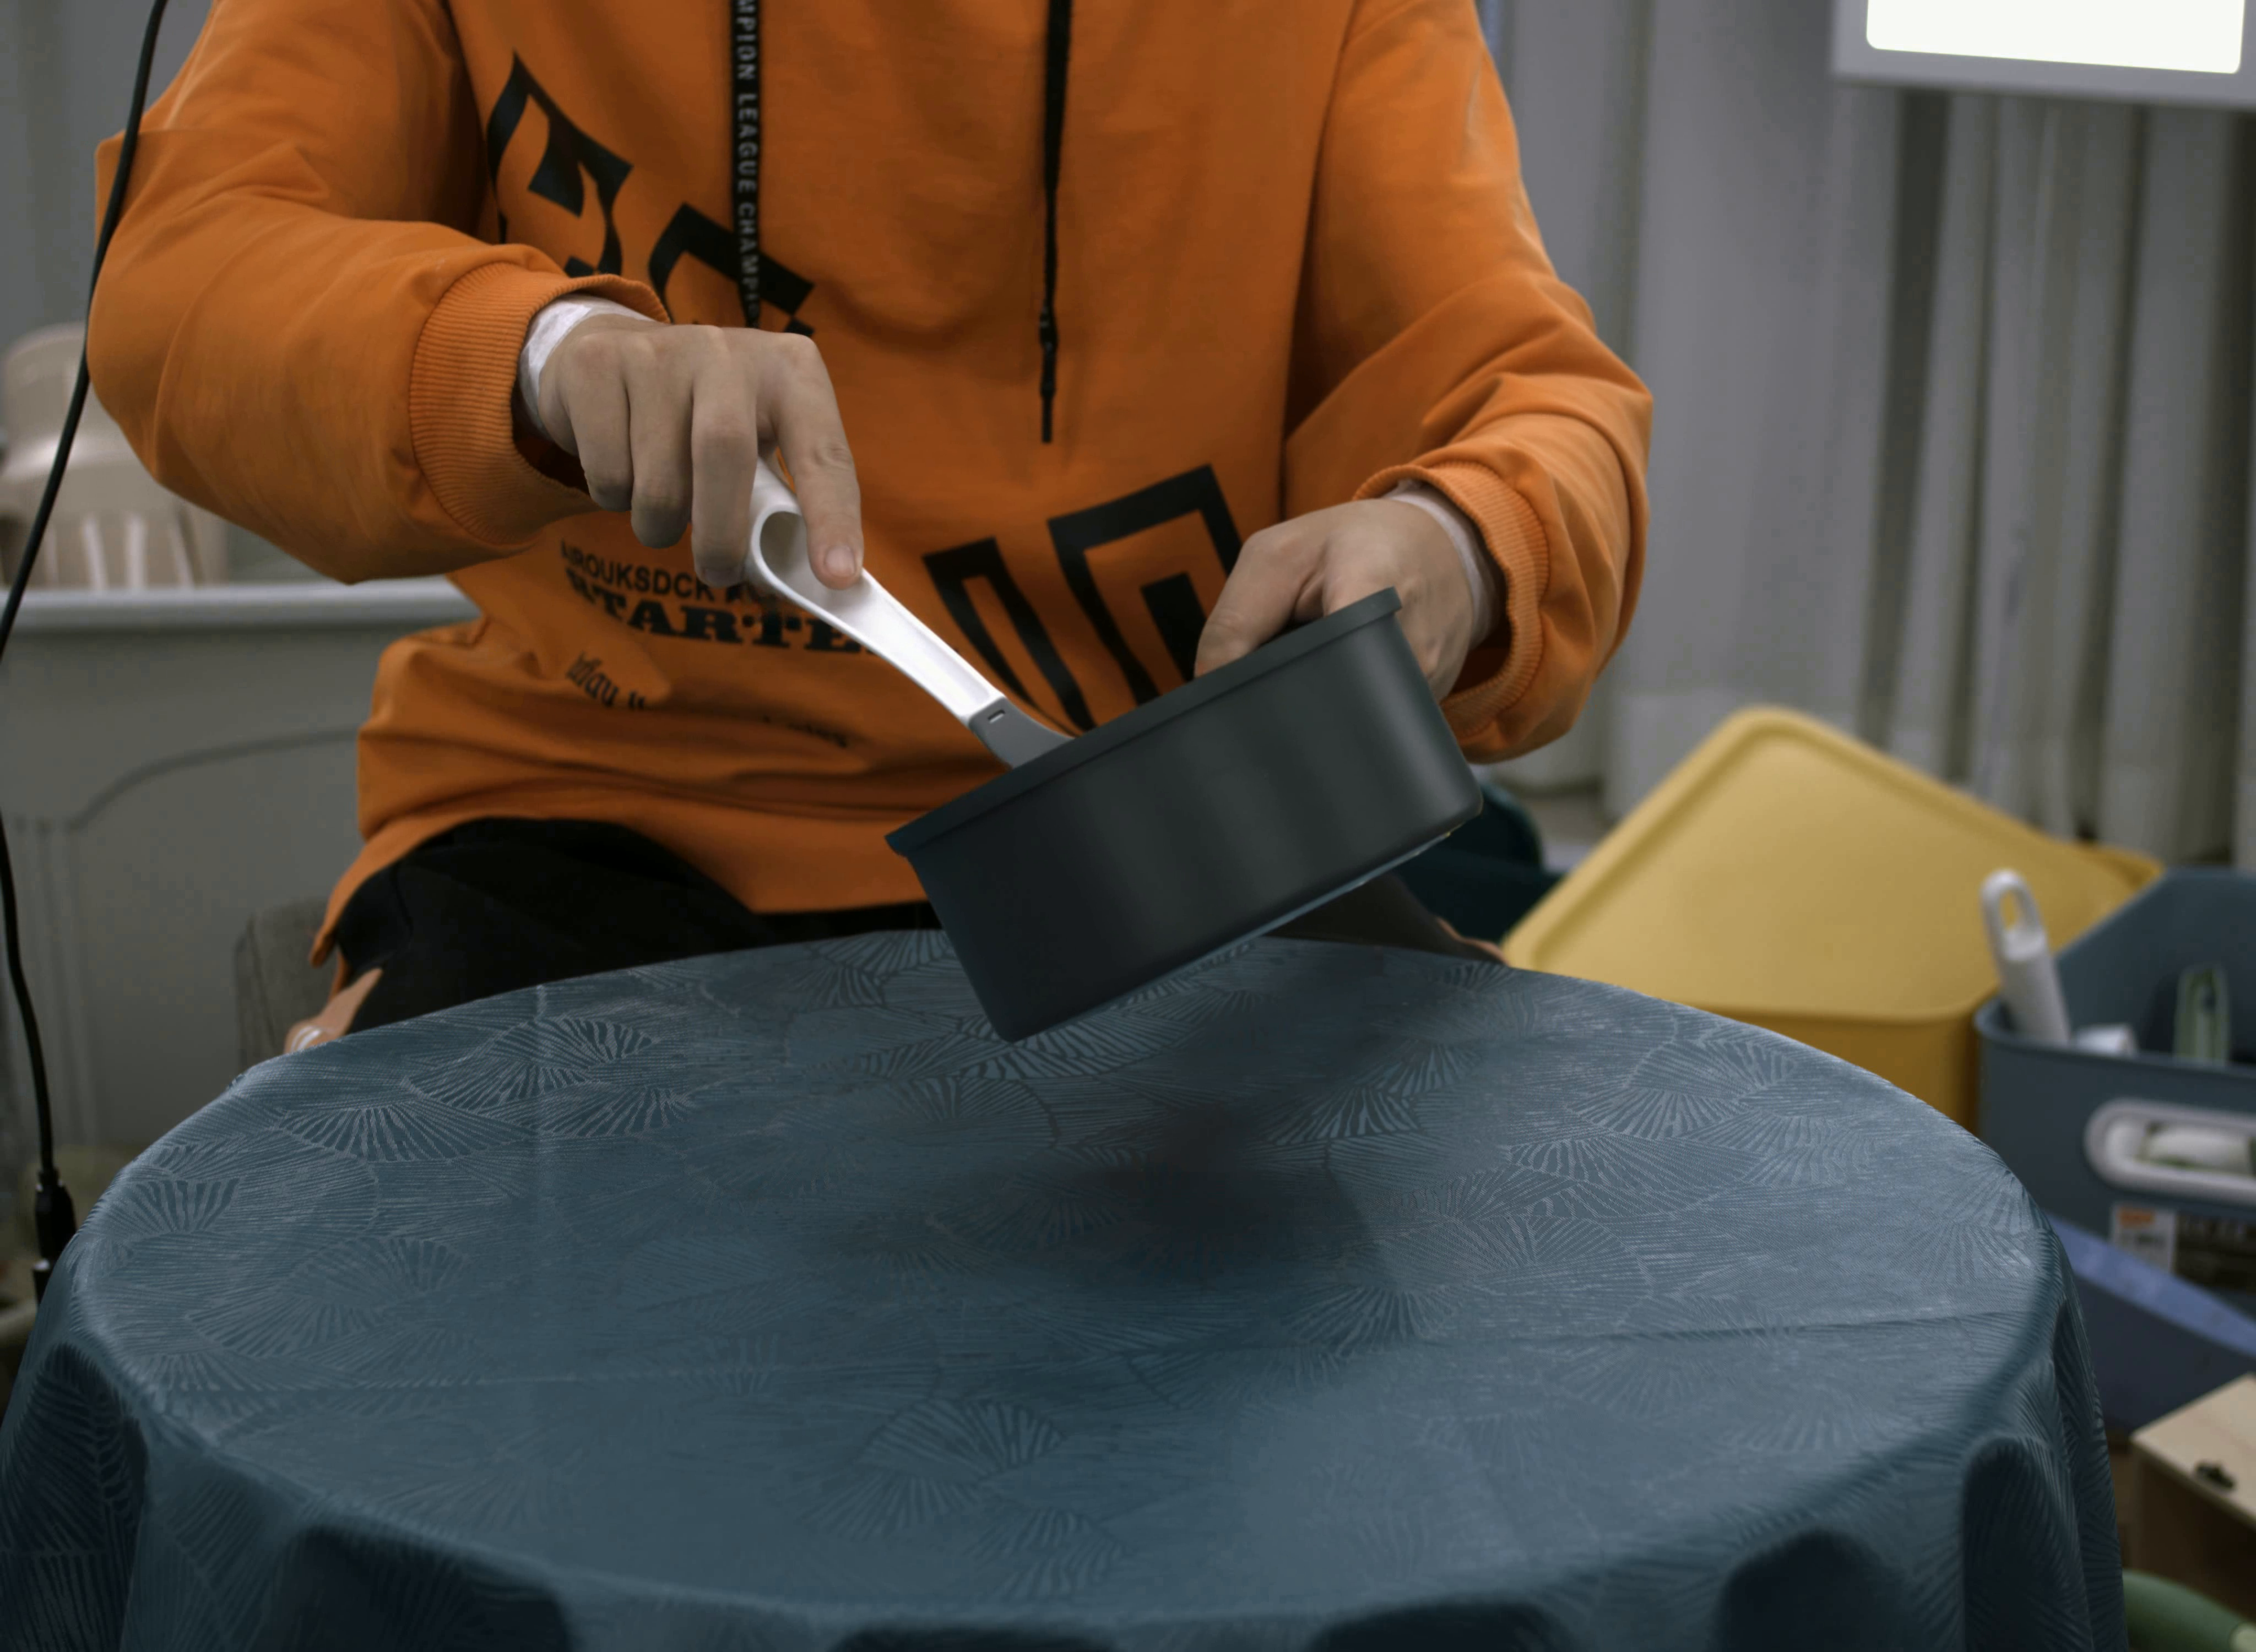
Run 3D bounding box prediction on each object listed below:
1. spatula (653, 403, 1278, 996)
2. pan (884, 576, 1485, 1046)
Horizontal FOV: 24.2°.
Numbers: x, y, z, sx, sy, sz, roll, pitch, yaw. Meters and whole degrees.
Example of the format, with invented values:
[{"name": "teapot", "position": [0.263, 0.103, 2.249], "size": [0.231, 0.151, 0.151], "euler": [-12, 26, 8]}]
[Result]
[{"name": "spatula", "position": [-0.058, -0.045, 1.609], "size": [0.059, 0.032, 0.283], "euler": [-30, 50, -21]}, {"name": "pan", "position": [0.040, -0.016, 1.651], "size": [0.171, 0.087, 0.329], "euler": [-25, 2, 19]}]
